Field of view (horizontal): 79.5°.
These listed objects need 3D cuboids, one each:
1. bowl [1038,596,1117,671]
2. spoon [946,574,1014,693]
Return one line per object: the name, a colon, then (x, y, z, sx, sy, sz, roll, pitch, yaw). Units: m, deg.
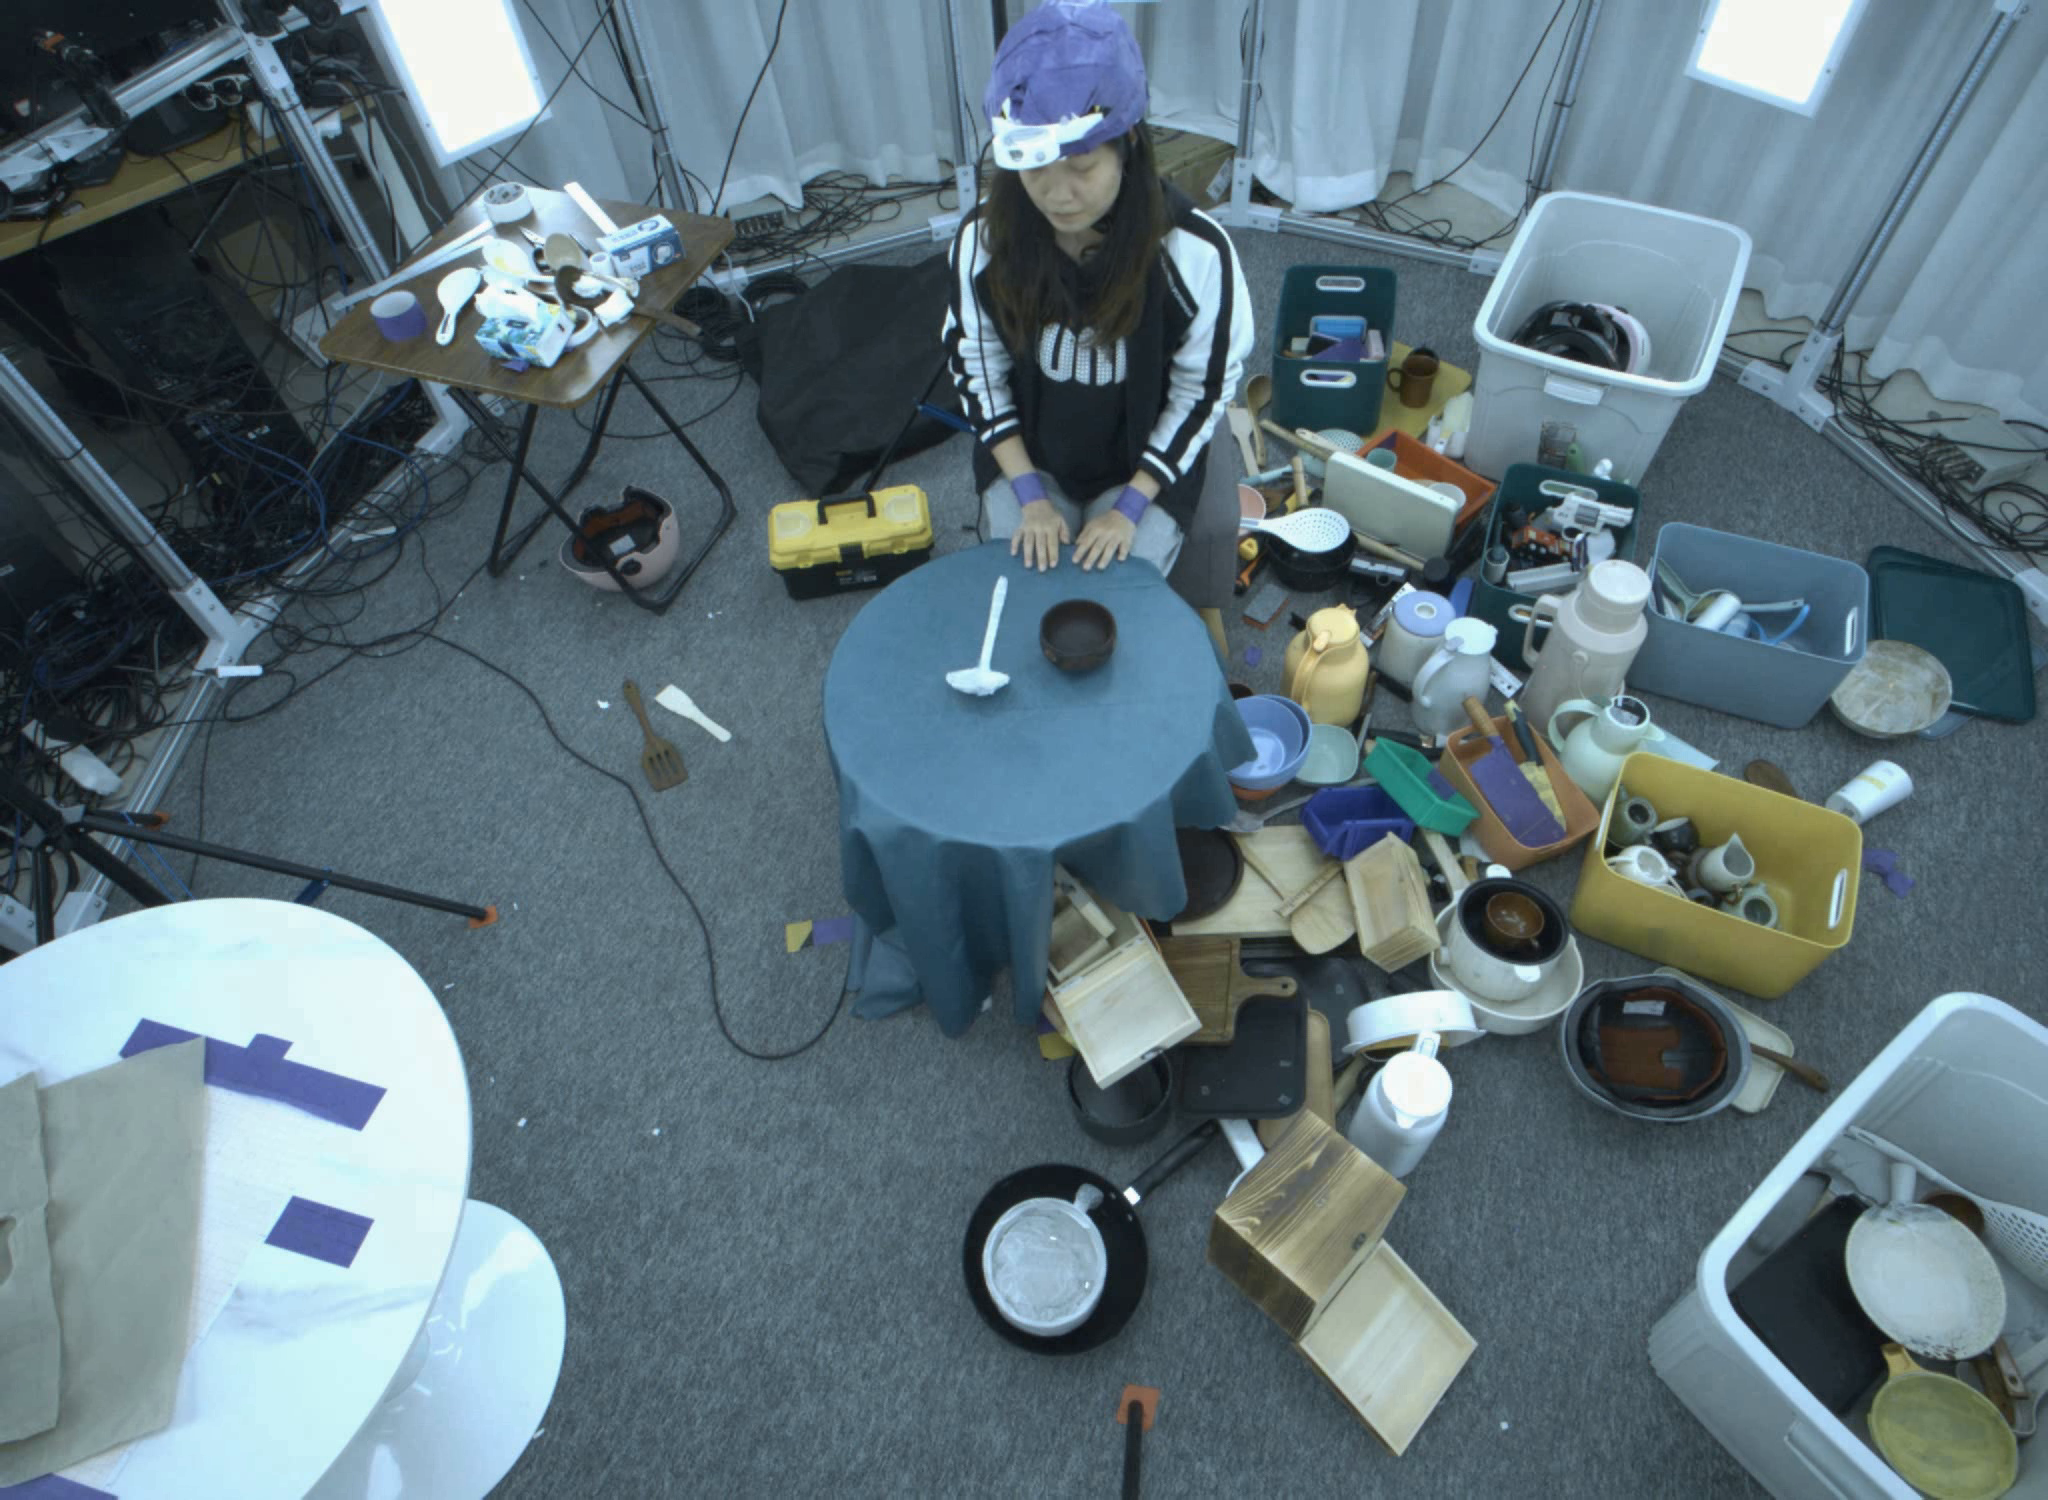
bowl: (0.081, -0.167, 1.858, 0.118, 0.070, 0.117, 0, 55, 2)
spoon: (-0.048, -0.186, 1.886, 0.100, 0.060, 0.276, 10, 56, 5)
